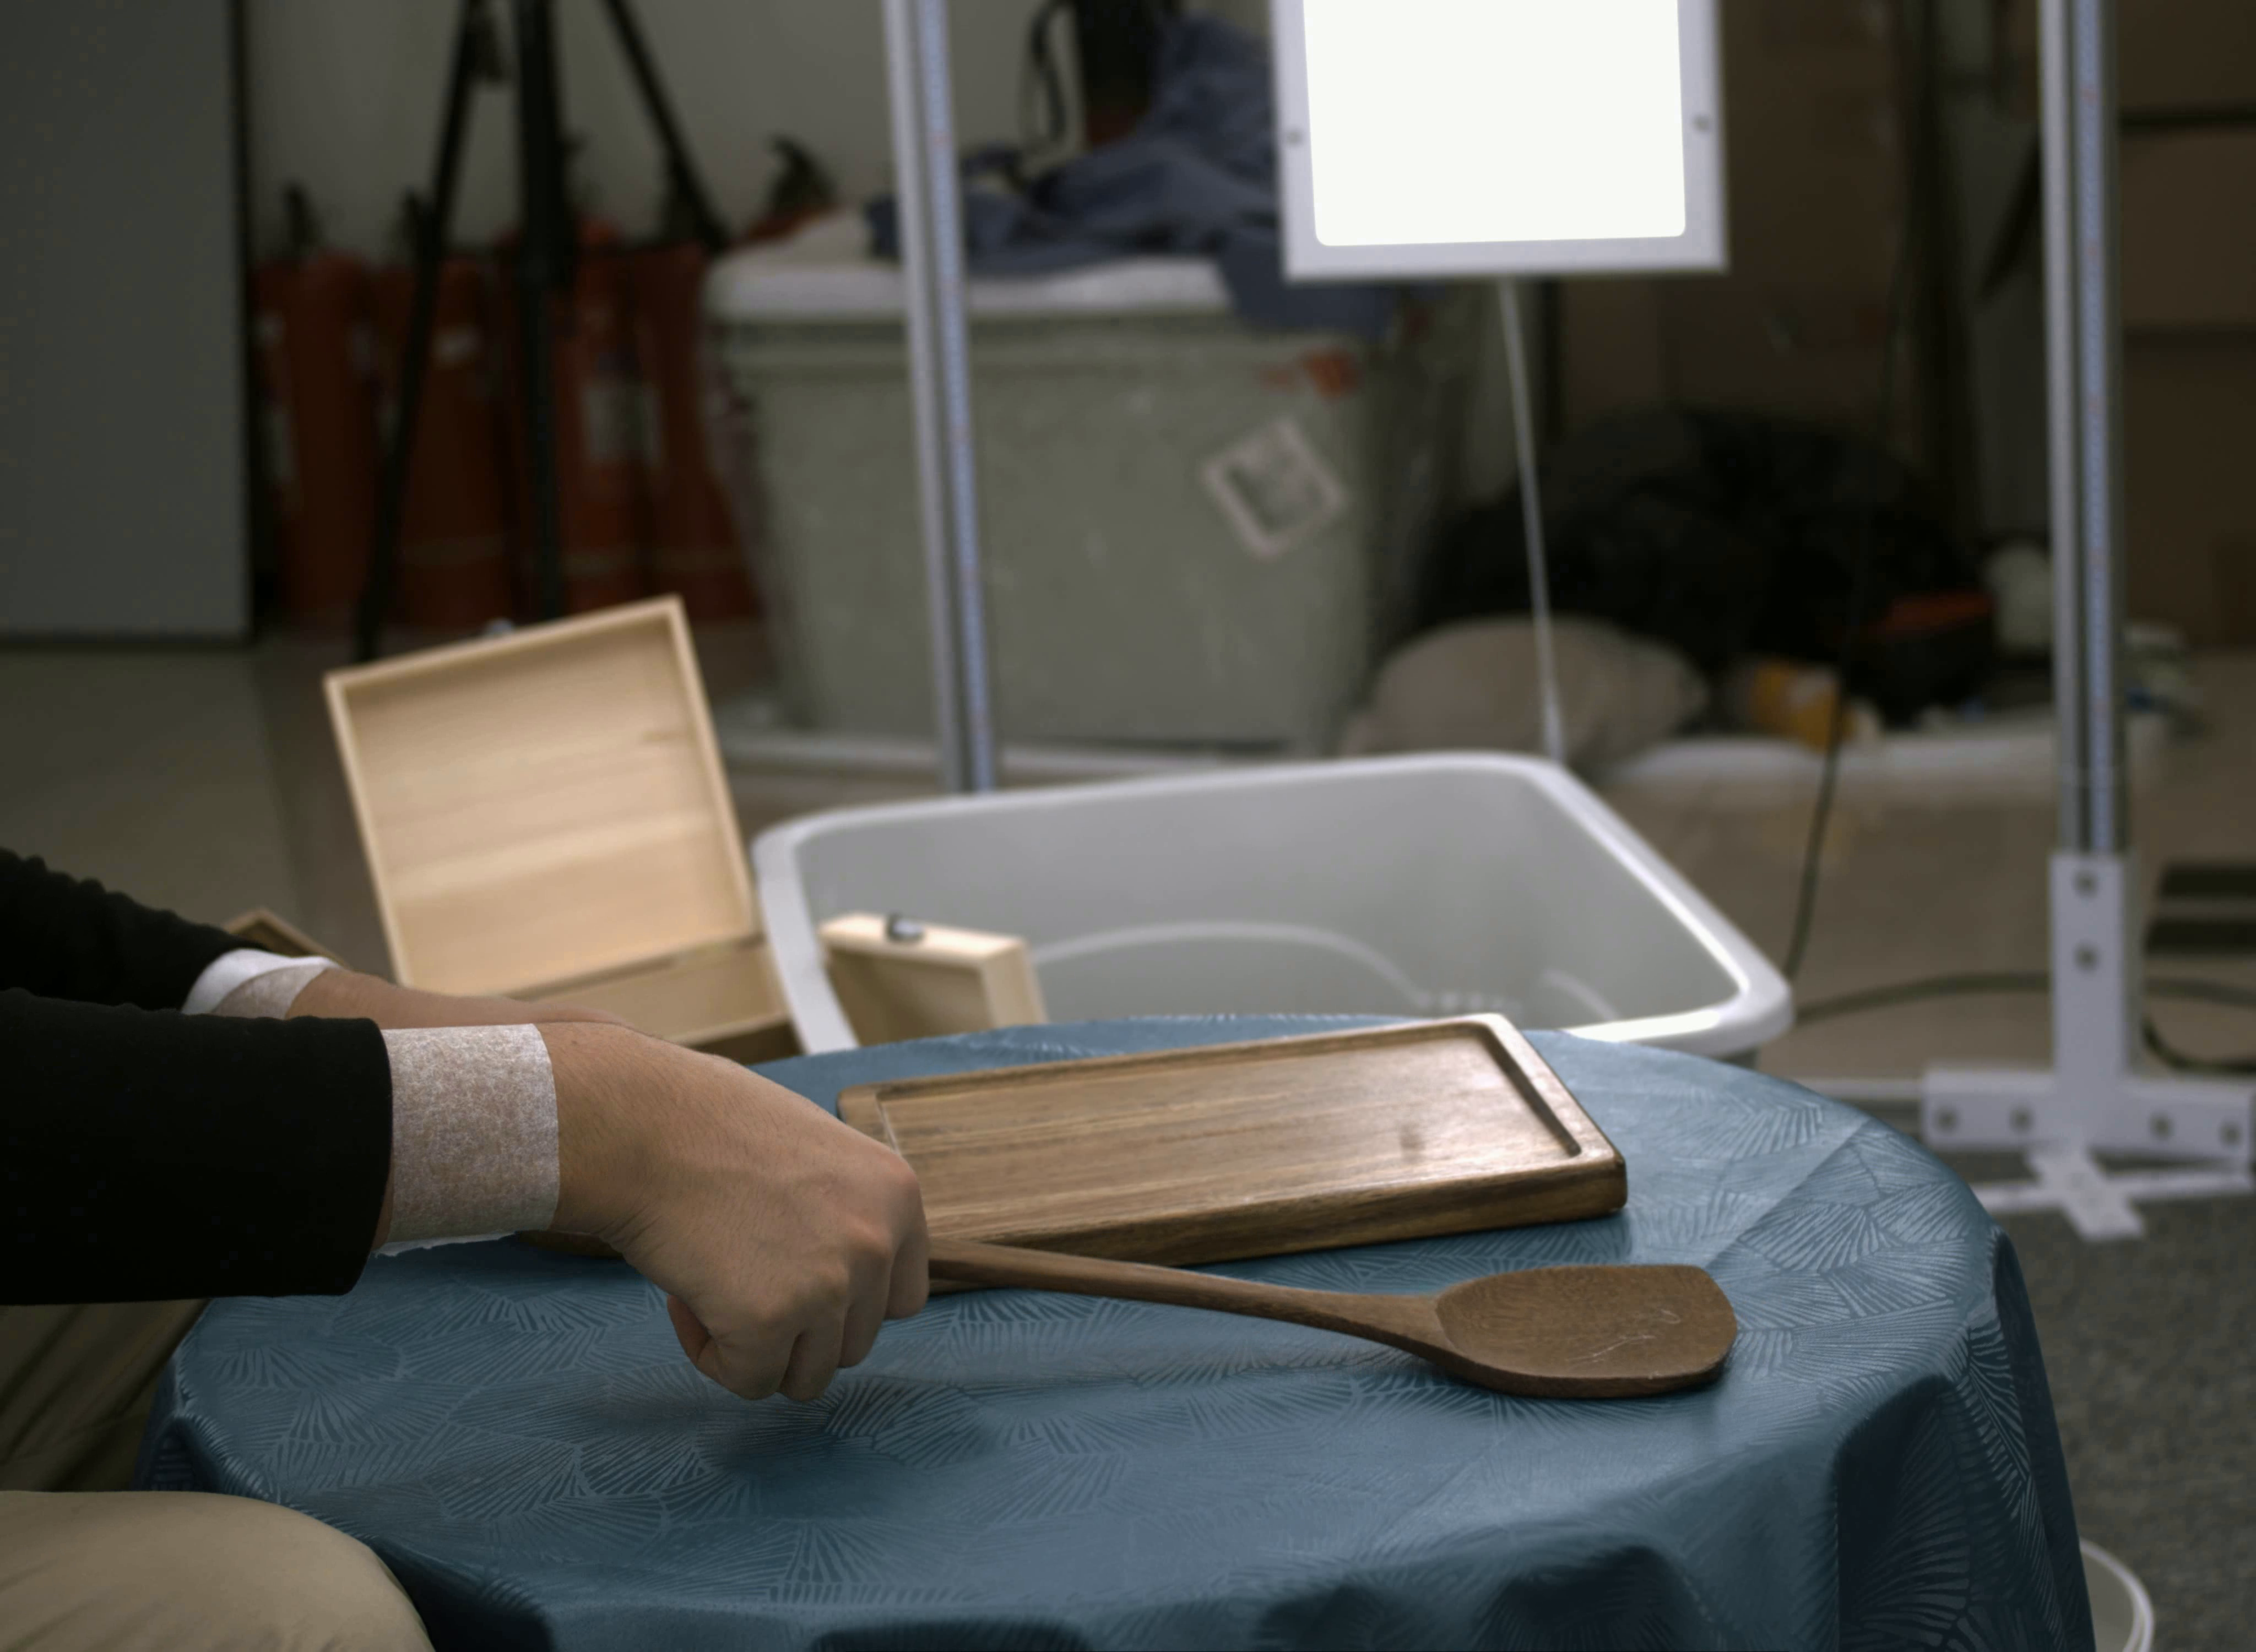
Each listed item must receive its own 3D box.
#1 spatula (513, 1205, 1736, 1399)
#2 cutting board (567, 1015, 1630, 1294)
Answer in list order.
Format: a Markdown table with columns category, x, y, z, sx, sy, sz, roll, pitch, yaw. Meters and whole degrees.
| category | x | y | z | sx | sy | sz | roll | pitch | yaw |
| --- | --- | --- | --- | --- | --- | --- | --- | --- | --- |
| spatula | -0.003 | 0.143 | 1.717 | 0.387 | 0.016 | 0.095 | 5 | 17 | 8 |
| cutting board | -0.018 | 0.116 | 1.903 | 0.349 | 0.023 | 0.202 | -6 | 13 | -5 |
